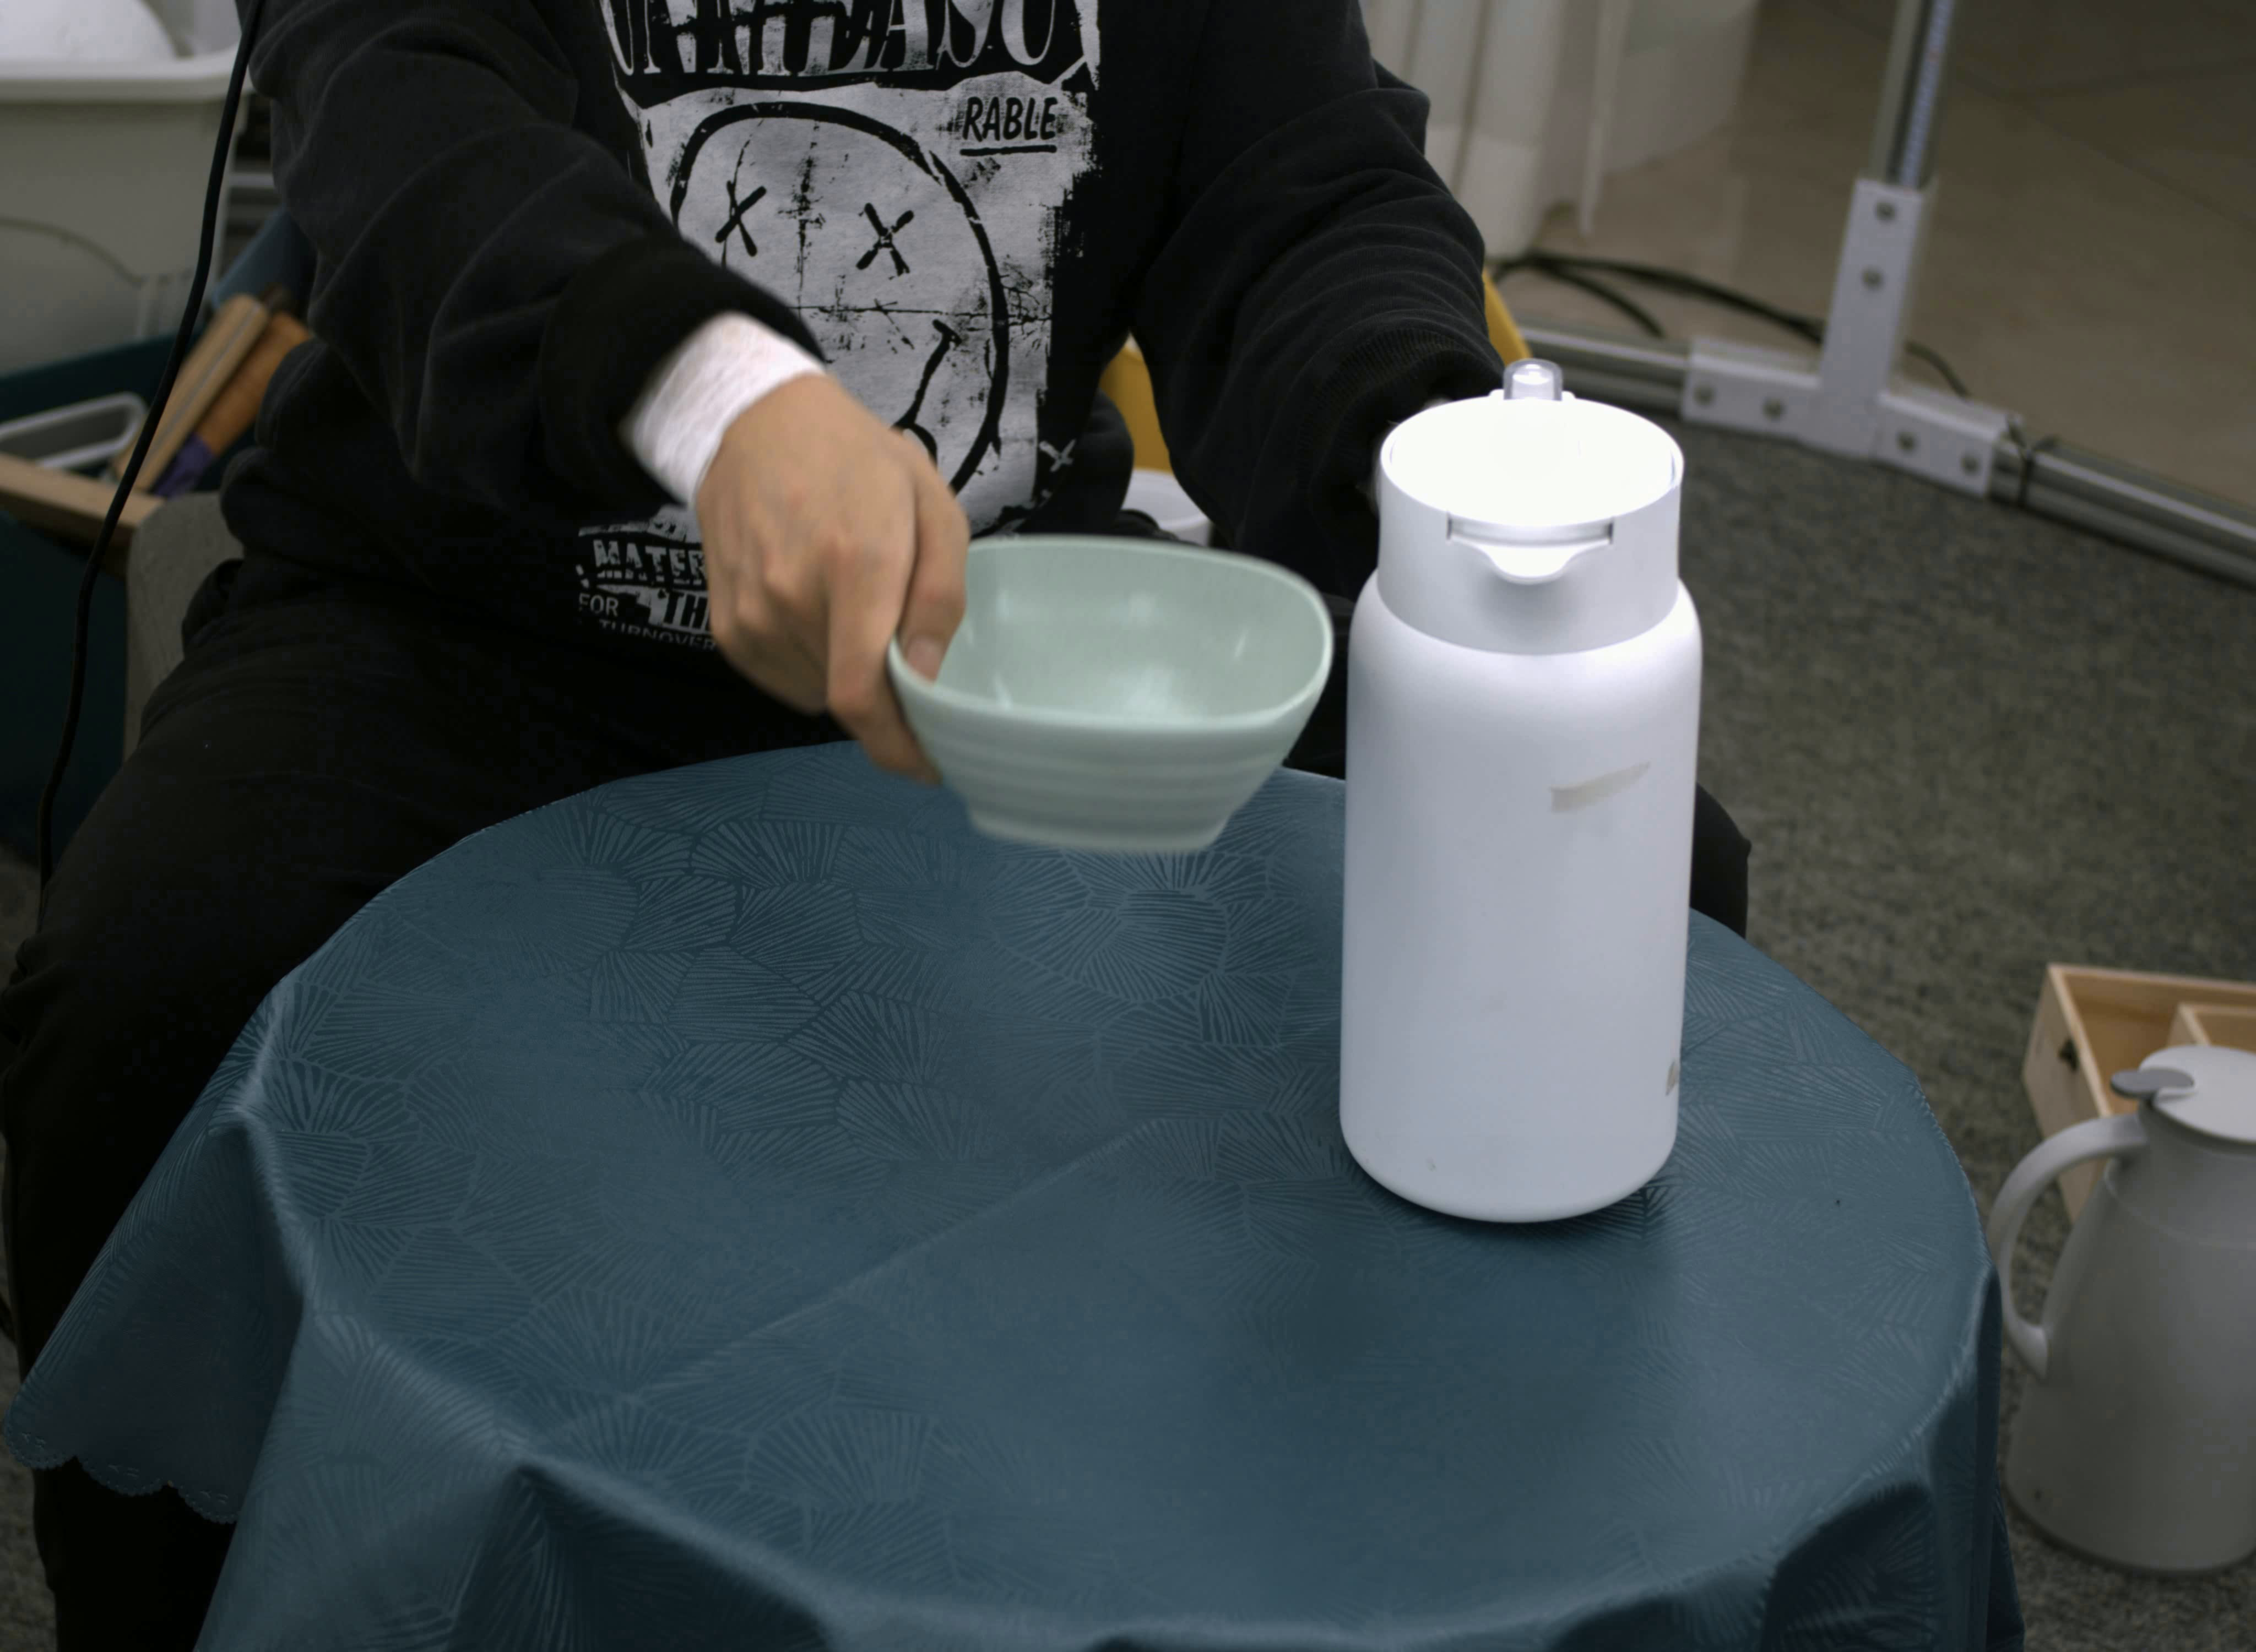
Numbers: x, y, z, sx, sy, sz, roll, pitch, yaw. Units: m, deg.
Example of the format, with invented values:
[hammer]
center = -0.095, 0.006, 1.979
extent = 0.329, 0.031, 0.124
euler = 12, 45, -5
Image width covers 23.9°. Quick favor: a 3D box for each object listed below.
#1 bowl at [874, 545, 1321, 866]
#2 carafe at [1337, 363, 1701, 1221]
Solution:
[bowl]
center = -0.011, -0.033, 1.664
extent = 0.151, 0.058, 0.152
euler = 3, 26, -2
[carafe]
center = 0.130, -0.015, 1.802
extent = 0.123, 0.268, 0.174
euler = -1, 29, 4
